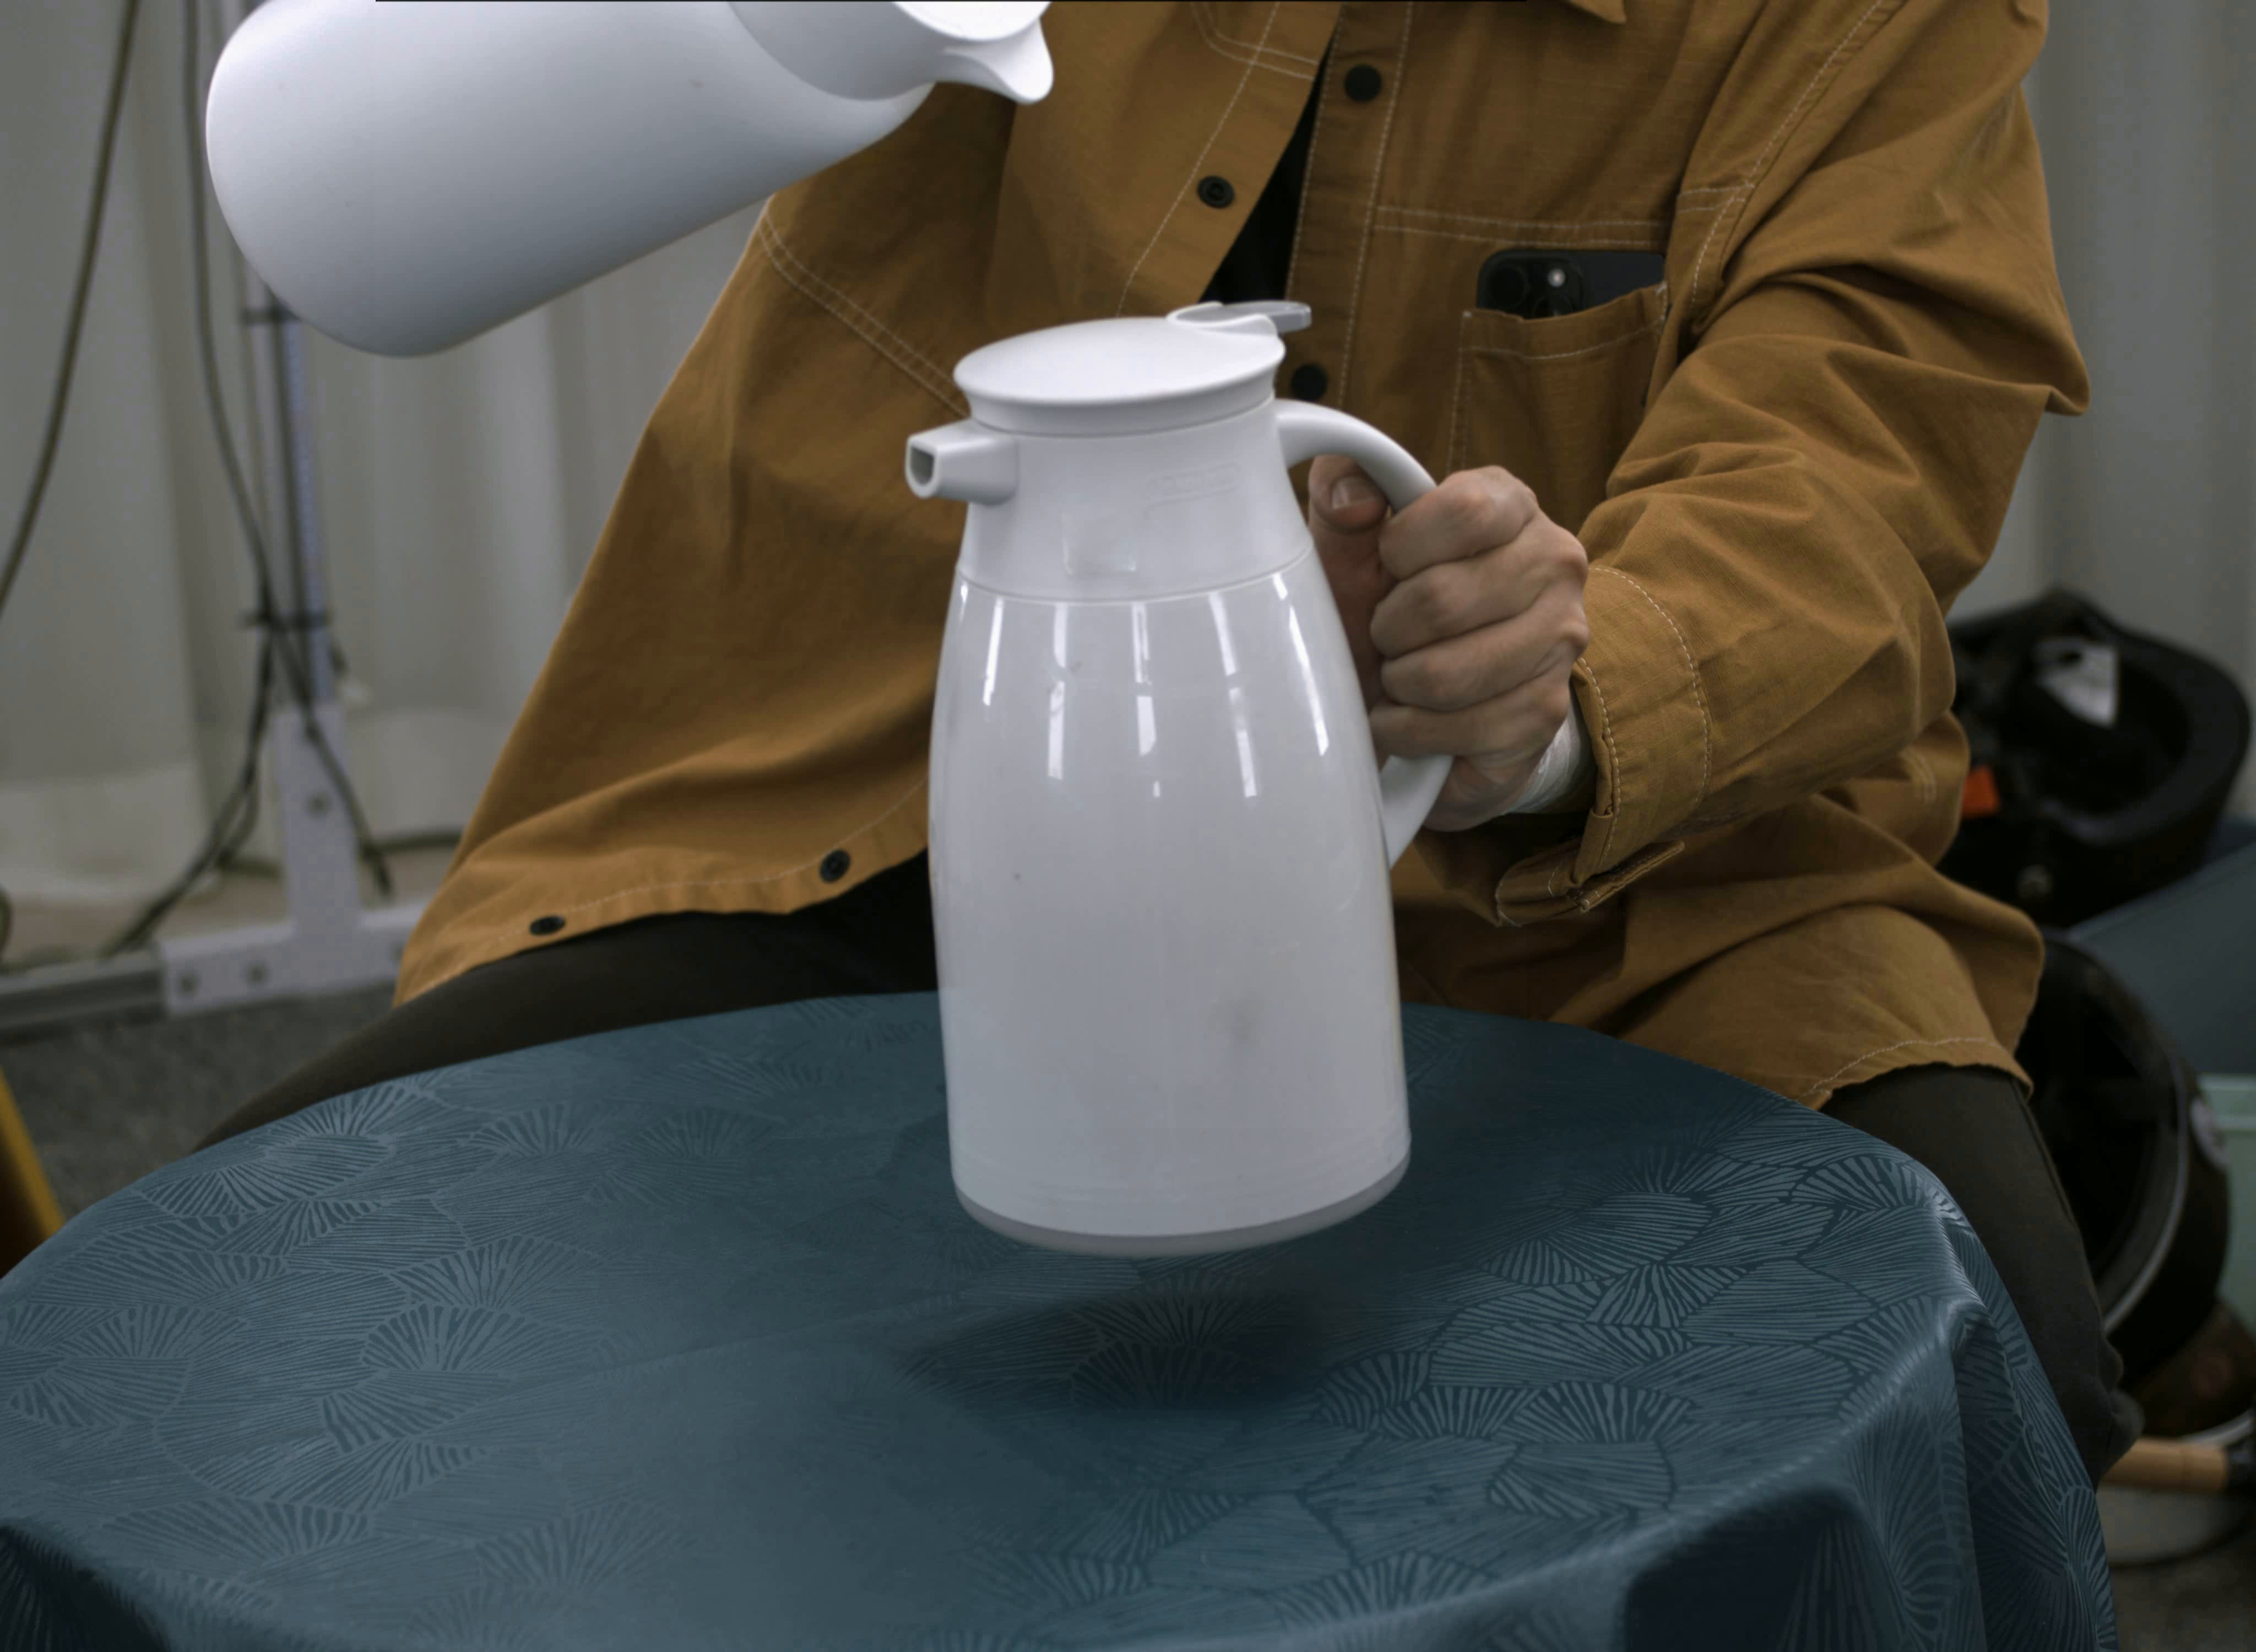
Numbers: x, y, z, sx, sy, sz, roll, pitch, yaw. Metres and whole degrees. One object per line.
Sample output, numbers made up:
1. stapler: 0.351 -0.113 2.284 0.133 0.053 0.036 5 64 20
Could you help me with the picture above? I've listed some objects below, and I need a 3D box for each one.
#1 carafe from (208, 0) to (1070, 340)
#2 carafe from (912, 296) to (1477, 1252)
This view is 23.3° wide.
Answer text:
1. carafe: -0.151 -0.244 1.571 0.268 0.172 0.124 -17 18 44
2. carafe: 0.023 -0.023 1.542 0.167 0.247 0.133 -11 18 -26
